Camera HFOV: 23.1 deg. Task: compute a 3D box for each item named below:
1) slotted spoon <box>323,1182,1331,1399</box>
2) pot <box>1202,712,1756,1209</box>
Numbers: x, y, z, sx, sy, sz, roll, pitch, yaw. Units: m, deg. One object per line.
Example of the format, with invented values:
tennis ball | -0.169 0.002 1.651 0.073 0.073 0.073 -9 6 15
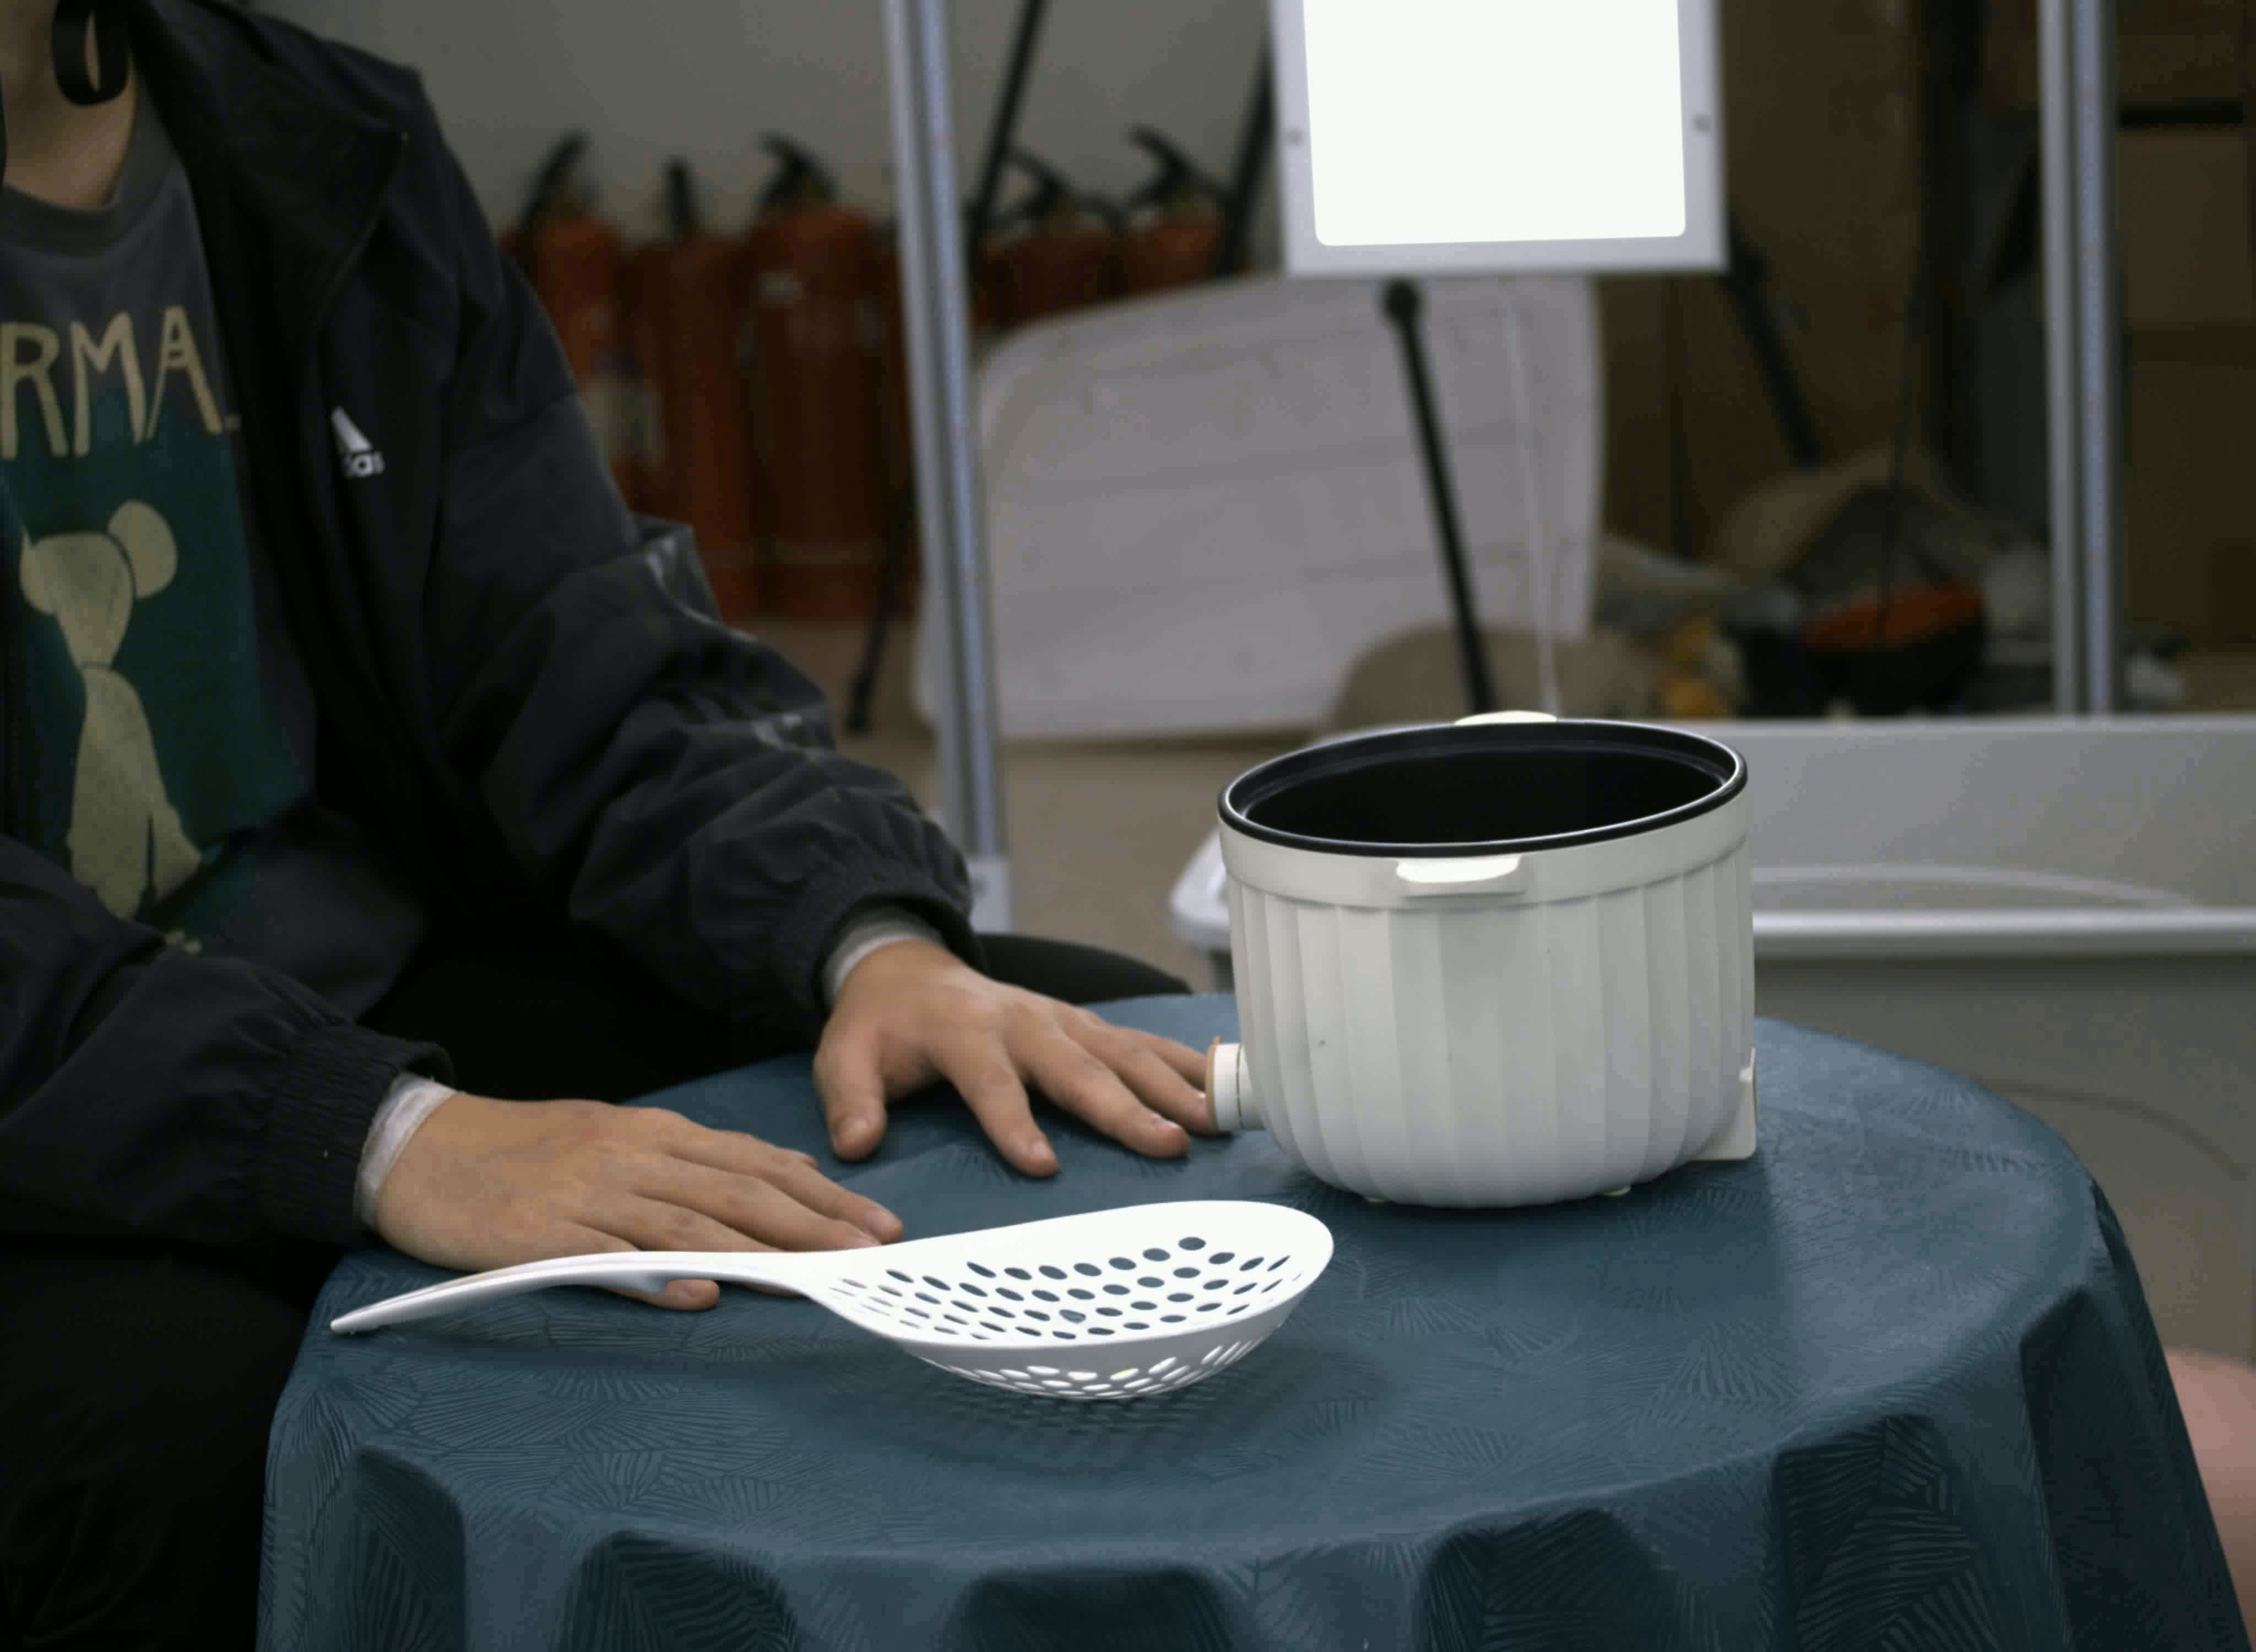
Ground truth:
slotted spoon | -0.102 0.150 1.748 0.353 0.050 0.134 2 17 25
pot | 0.120 0.049 1.879 0.191 0.143 0.238 0 13 9
